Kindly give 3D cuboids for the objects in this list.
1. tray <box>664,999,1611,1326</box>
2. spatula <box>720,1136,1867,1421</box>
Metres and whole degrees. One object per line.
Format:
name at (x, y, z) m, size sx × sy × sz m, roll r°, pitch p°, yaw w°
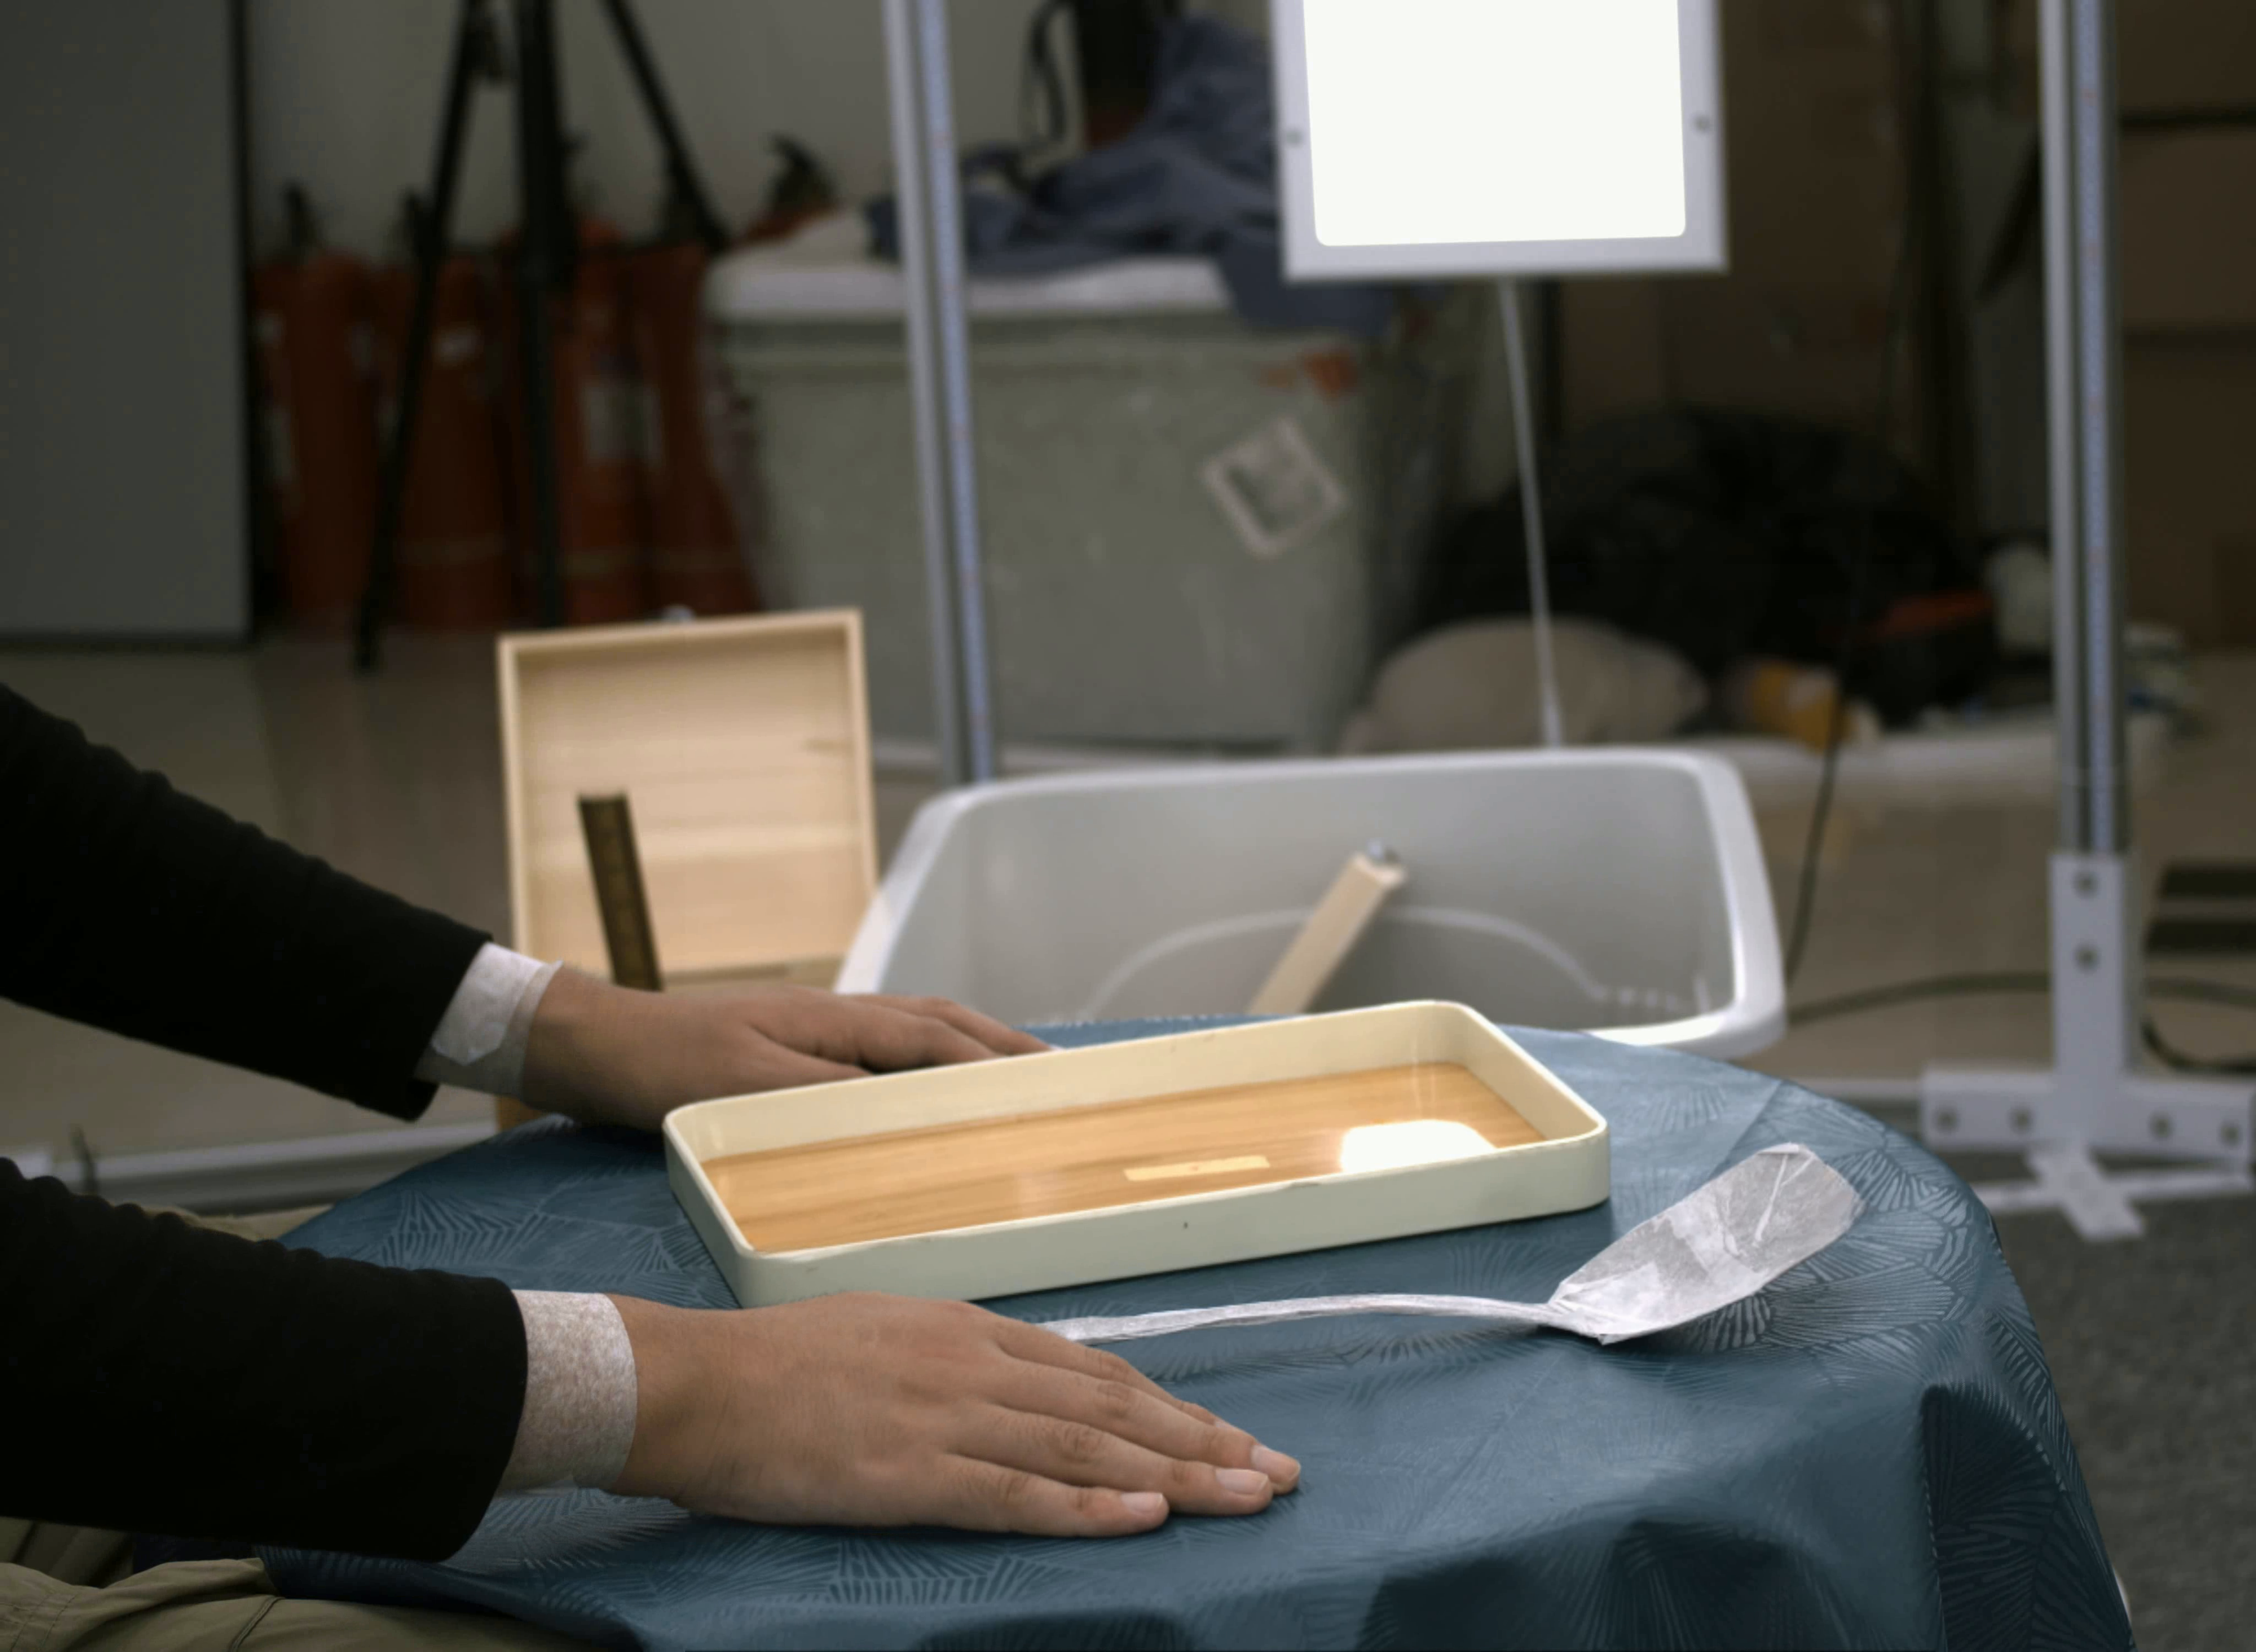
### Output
tray at (0.000, 0.113, 1.895) m, size 0.297 × 0.027 × 0.193 m, roll -8°, pitch 14°, yaw -10°
spatula at (0.052, 0.147, 1.715) m, size 0.362 × 0.045 × 0.099 m, roll -6°, pitch 14°, yaw -4°
